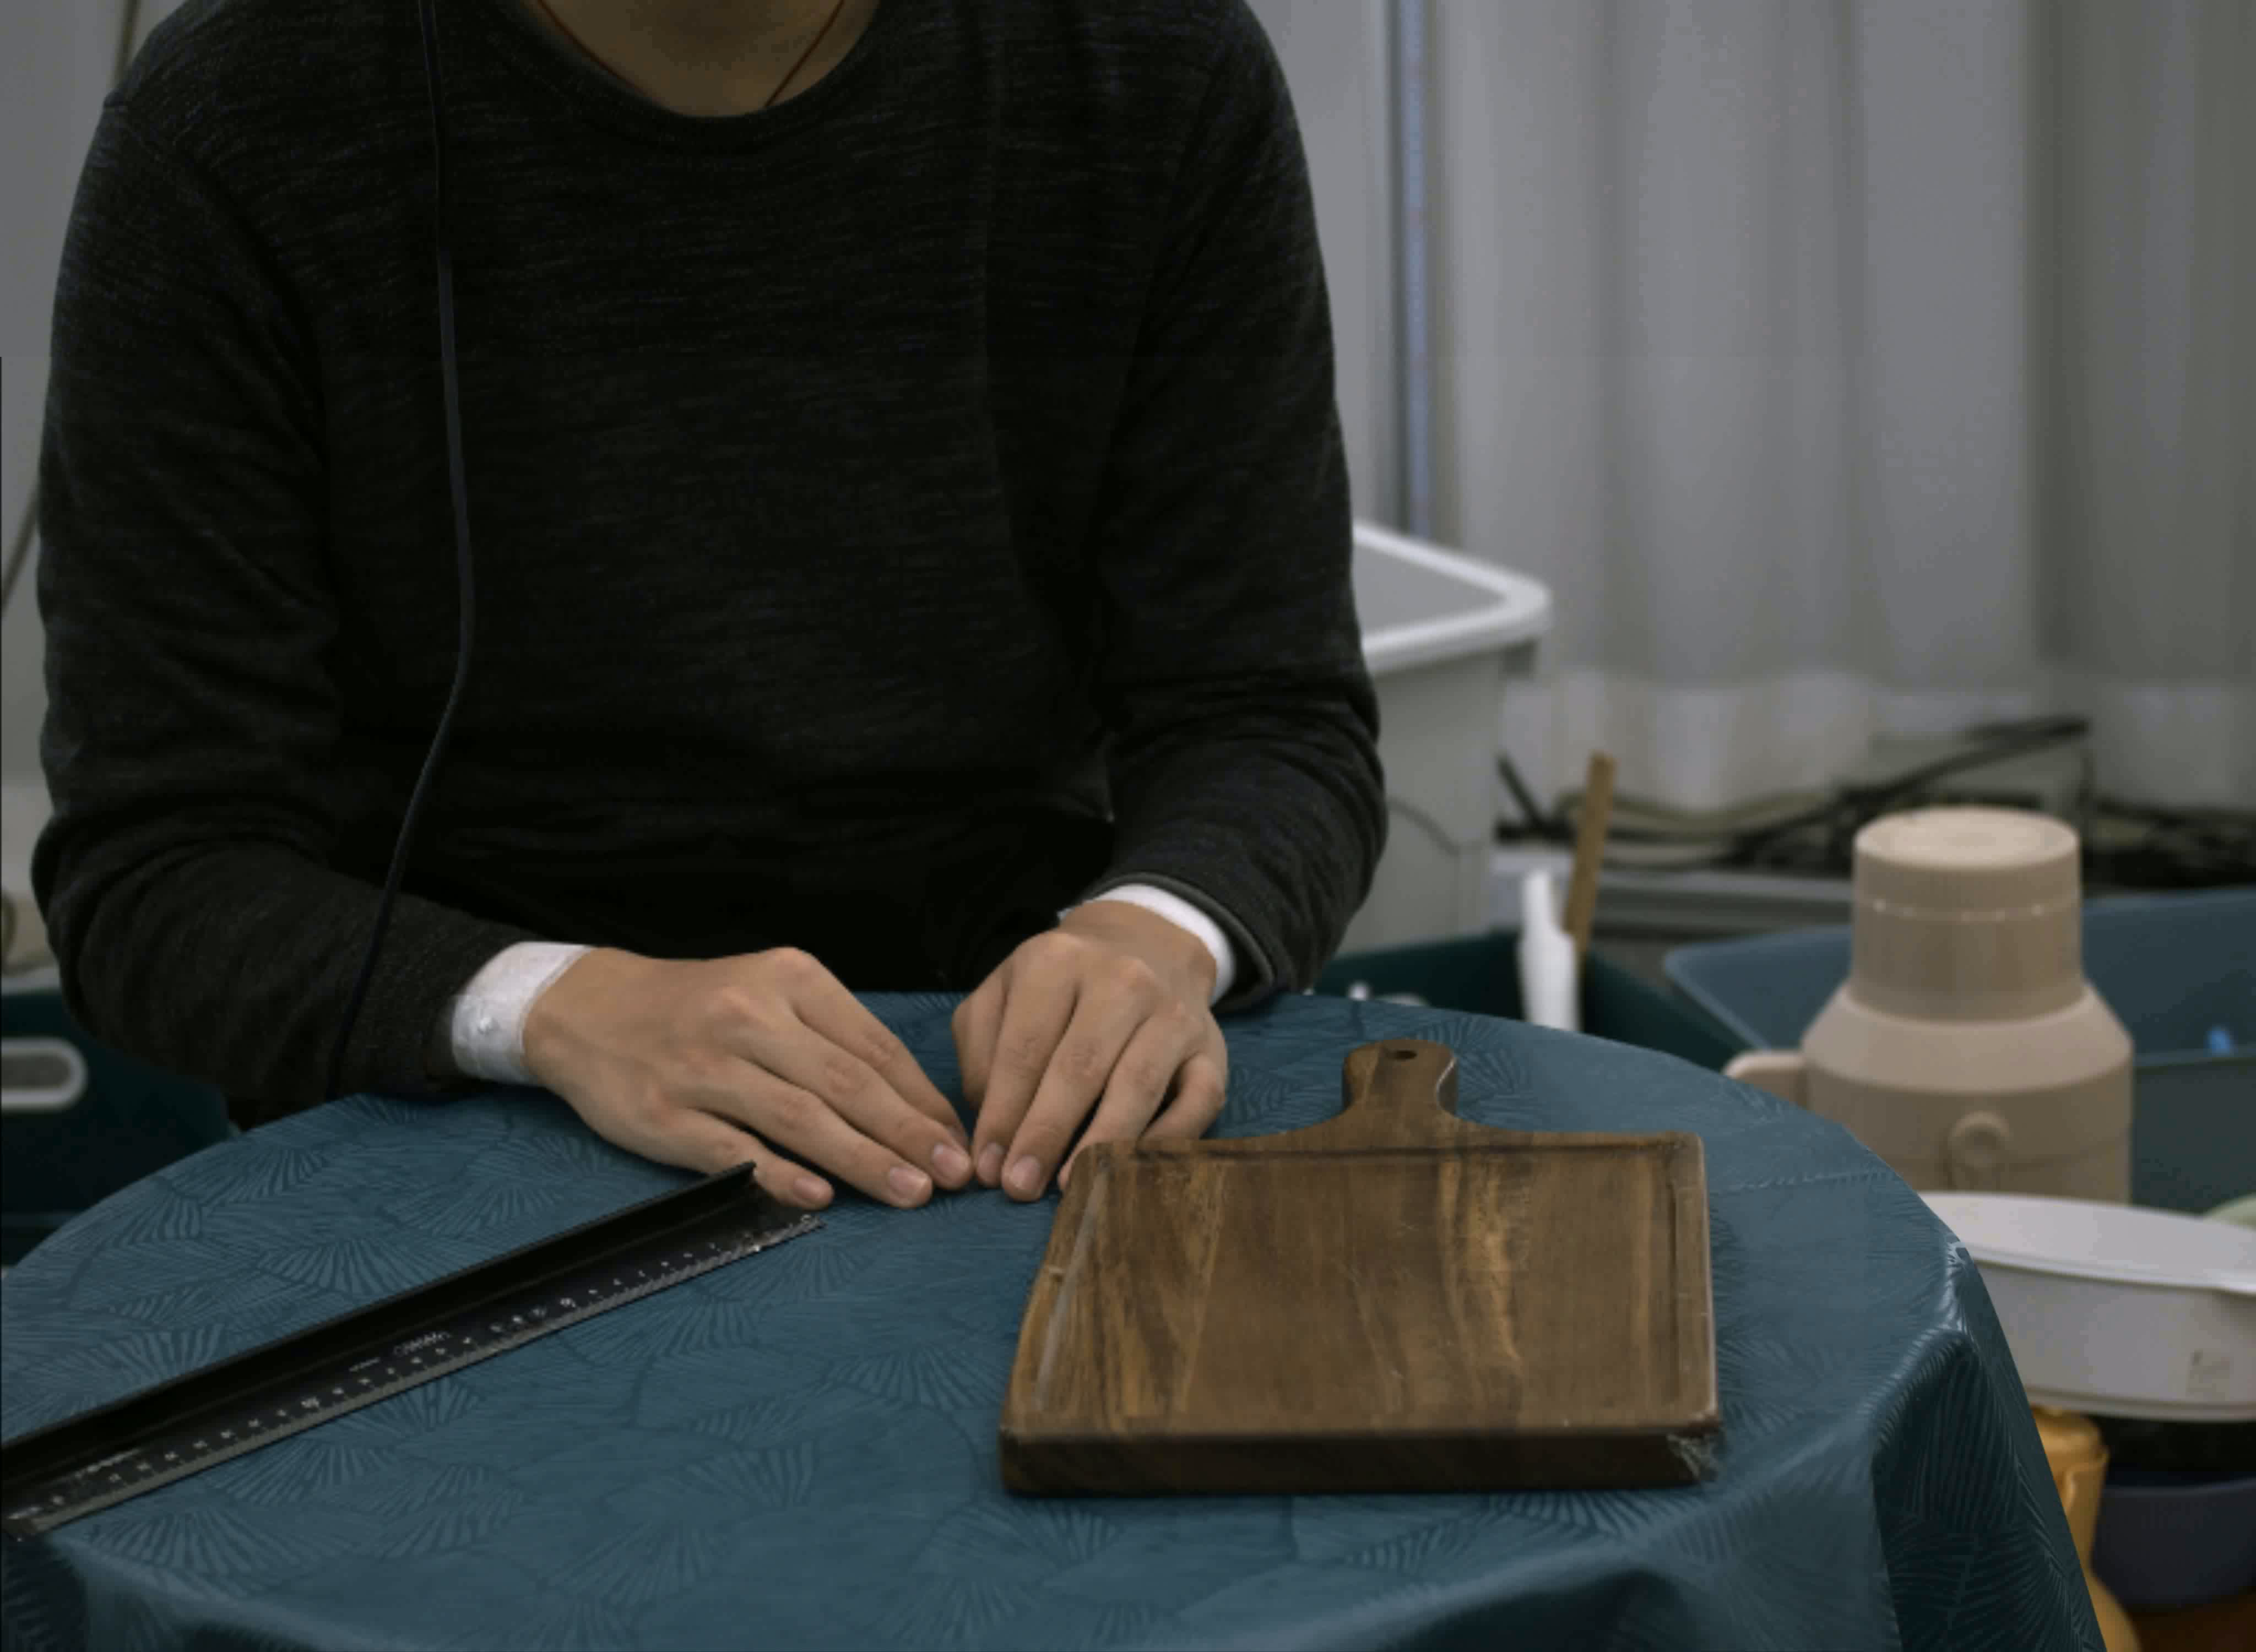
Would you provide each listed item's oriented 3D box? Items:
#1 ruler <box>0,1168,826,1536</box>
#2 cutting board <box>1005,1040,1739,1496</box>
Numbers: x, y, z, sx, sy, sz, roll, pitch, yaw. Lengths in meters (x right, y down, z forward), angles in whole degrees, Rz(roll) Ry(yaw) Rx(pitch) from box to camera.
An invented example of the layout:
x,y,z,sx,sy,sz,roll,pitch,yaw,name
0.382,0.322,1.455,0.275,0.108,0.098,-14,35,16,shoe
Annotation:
x,y,z,sx,sy,sz,roll,pitch,yaw,name
-0.209,0.149,1.594,0.039,0.017,0.312,13,22,40,ruler
0.075,0.124,1.623,0.200,0.023,0.354,-2,14,5,cutting board
